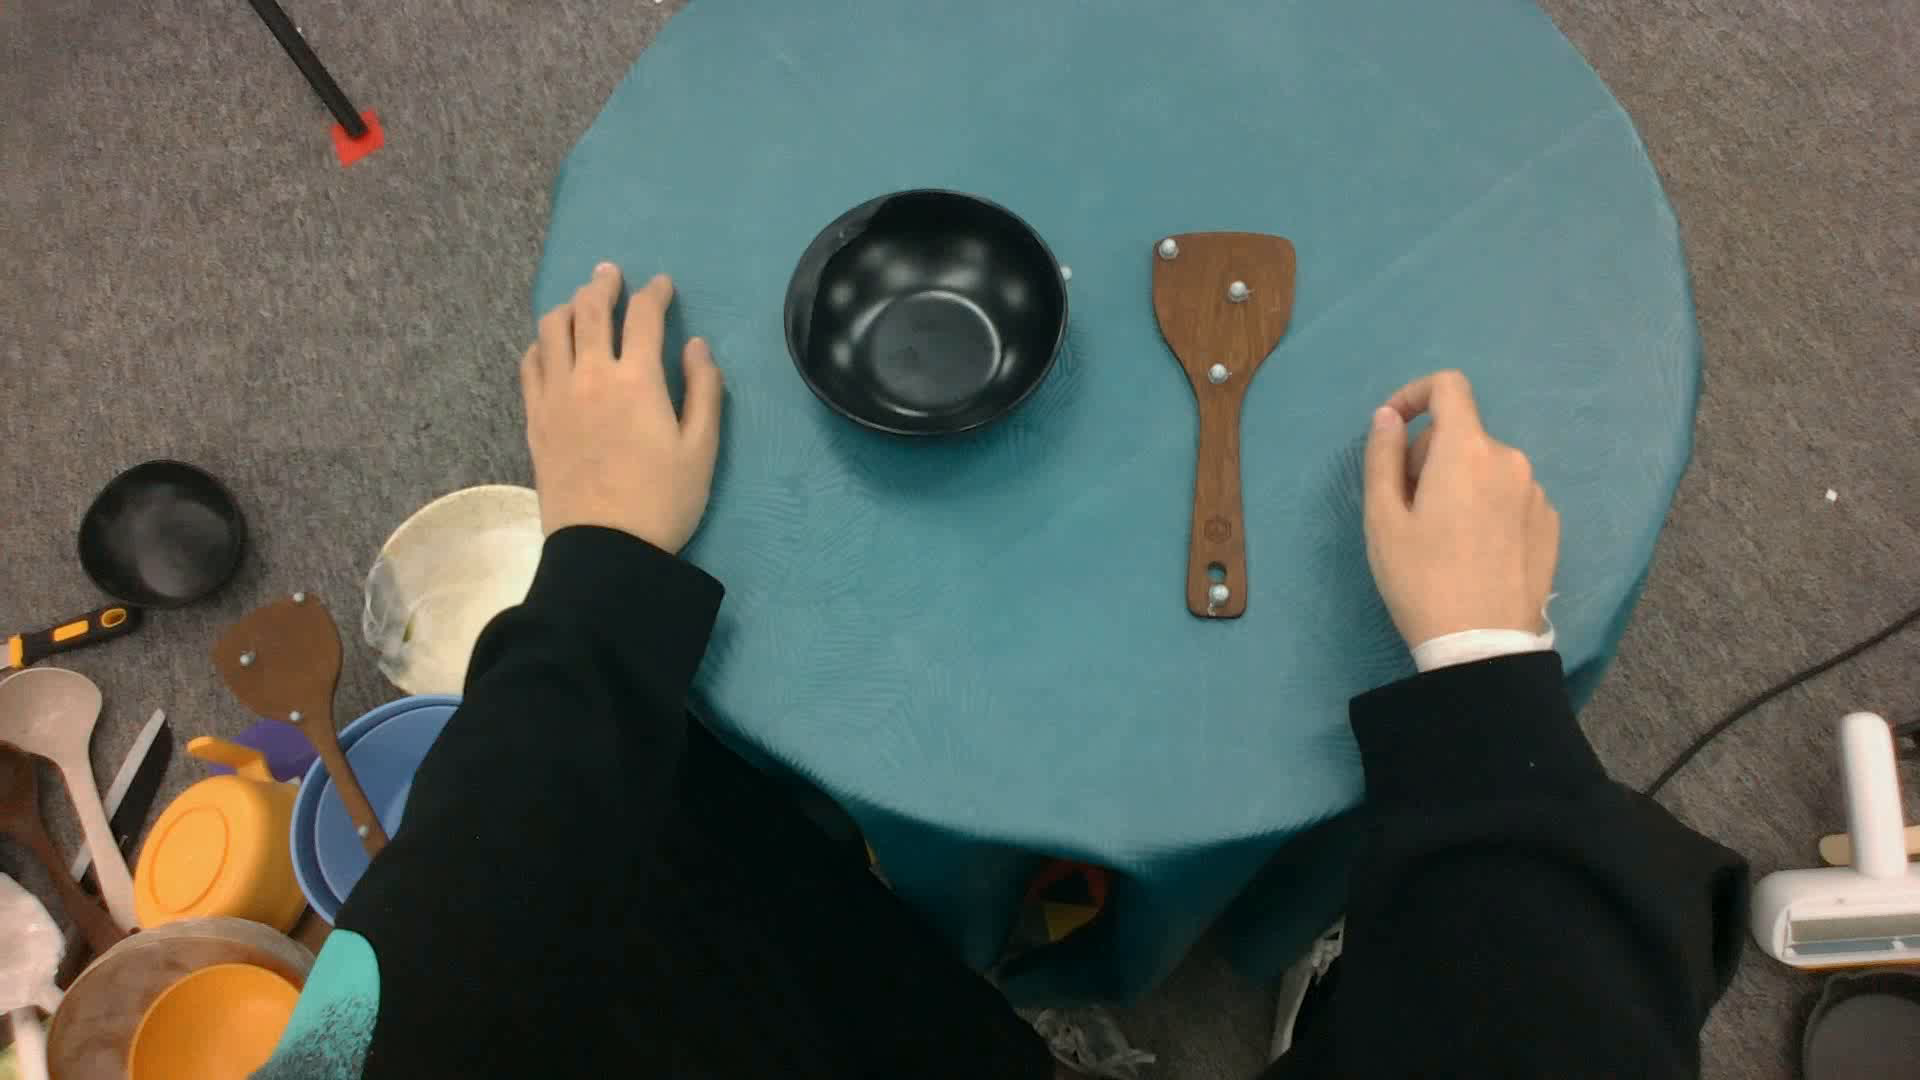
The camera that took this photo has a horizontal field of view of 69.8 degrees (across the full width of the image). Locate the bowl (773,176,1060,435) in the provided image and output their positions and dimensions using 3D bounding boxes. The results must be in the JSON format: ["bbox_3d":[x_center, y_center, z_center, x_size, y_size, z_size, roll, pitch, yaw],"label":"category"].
[{"bbox_3d":[-0.021,-0.109,0.685,0.140,0.049,0.140,0,69,0],"label":"bowl"}]

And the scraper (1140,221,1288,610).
[{"bbox_3d":[0.125,-0.066,0.682,0.076,0.011,0.212,3,69,4],"label":"scraper"}]
